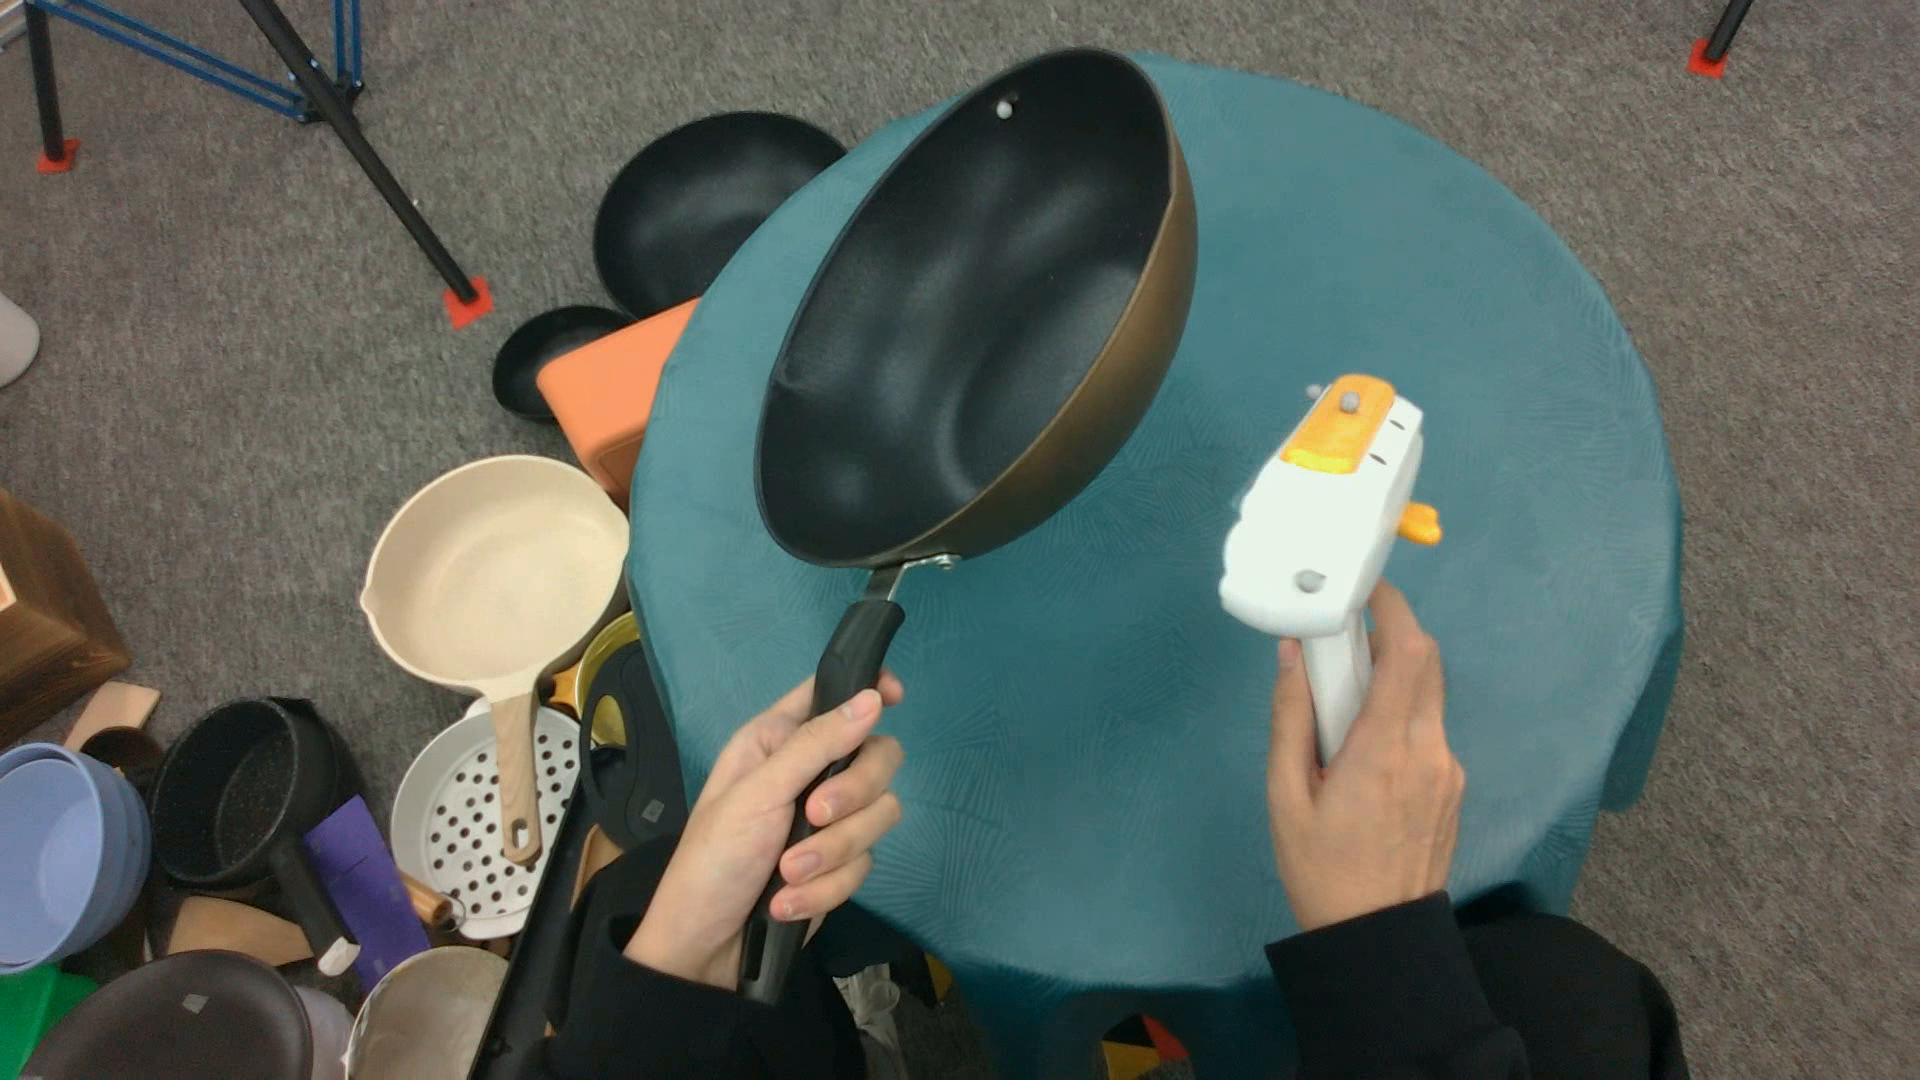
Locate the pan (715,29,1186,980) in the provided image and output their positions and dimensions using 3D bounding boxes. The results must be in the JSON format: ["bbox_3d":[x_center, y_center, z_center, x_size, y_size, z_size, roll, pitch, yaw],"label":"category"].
[{"bbox_3d":[-0.010,-0.025,0.641,0.287,0.087,0.465,-13,55,46],"label":"pan"}]

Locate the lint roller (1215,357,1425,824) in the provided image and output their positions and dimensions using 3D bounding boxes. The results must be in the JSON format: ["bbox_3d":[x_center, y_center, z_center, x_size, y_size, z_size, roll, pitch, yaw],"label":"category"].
[{"bbox_3d":[0.153,0.033,0.587,0.074,0.192,0.194,7,24,16],"label":"lint roller"}]
